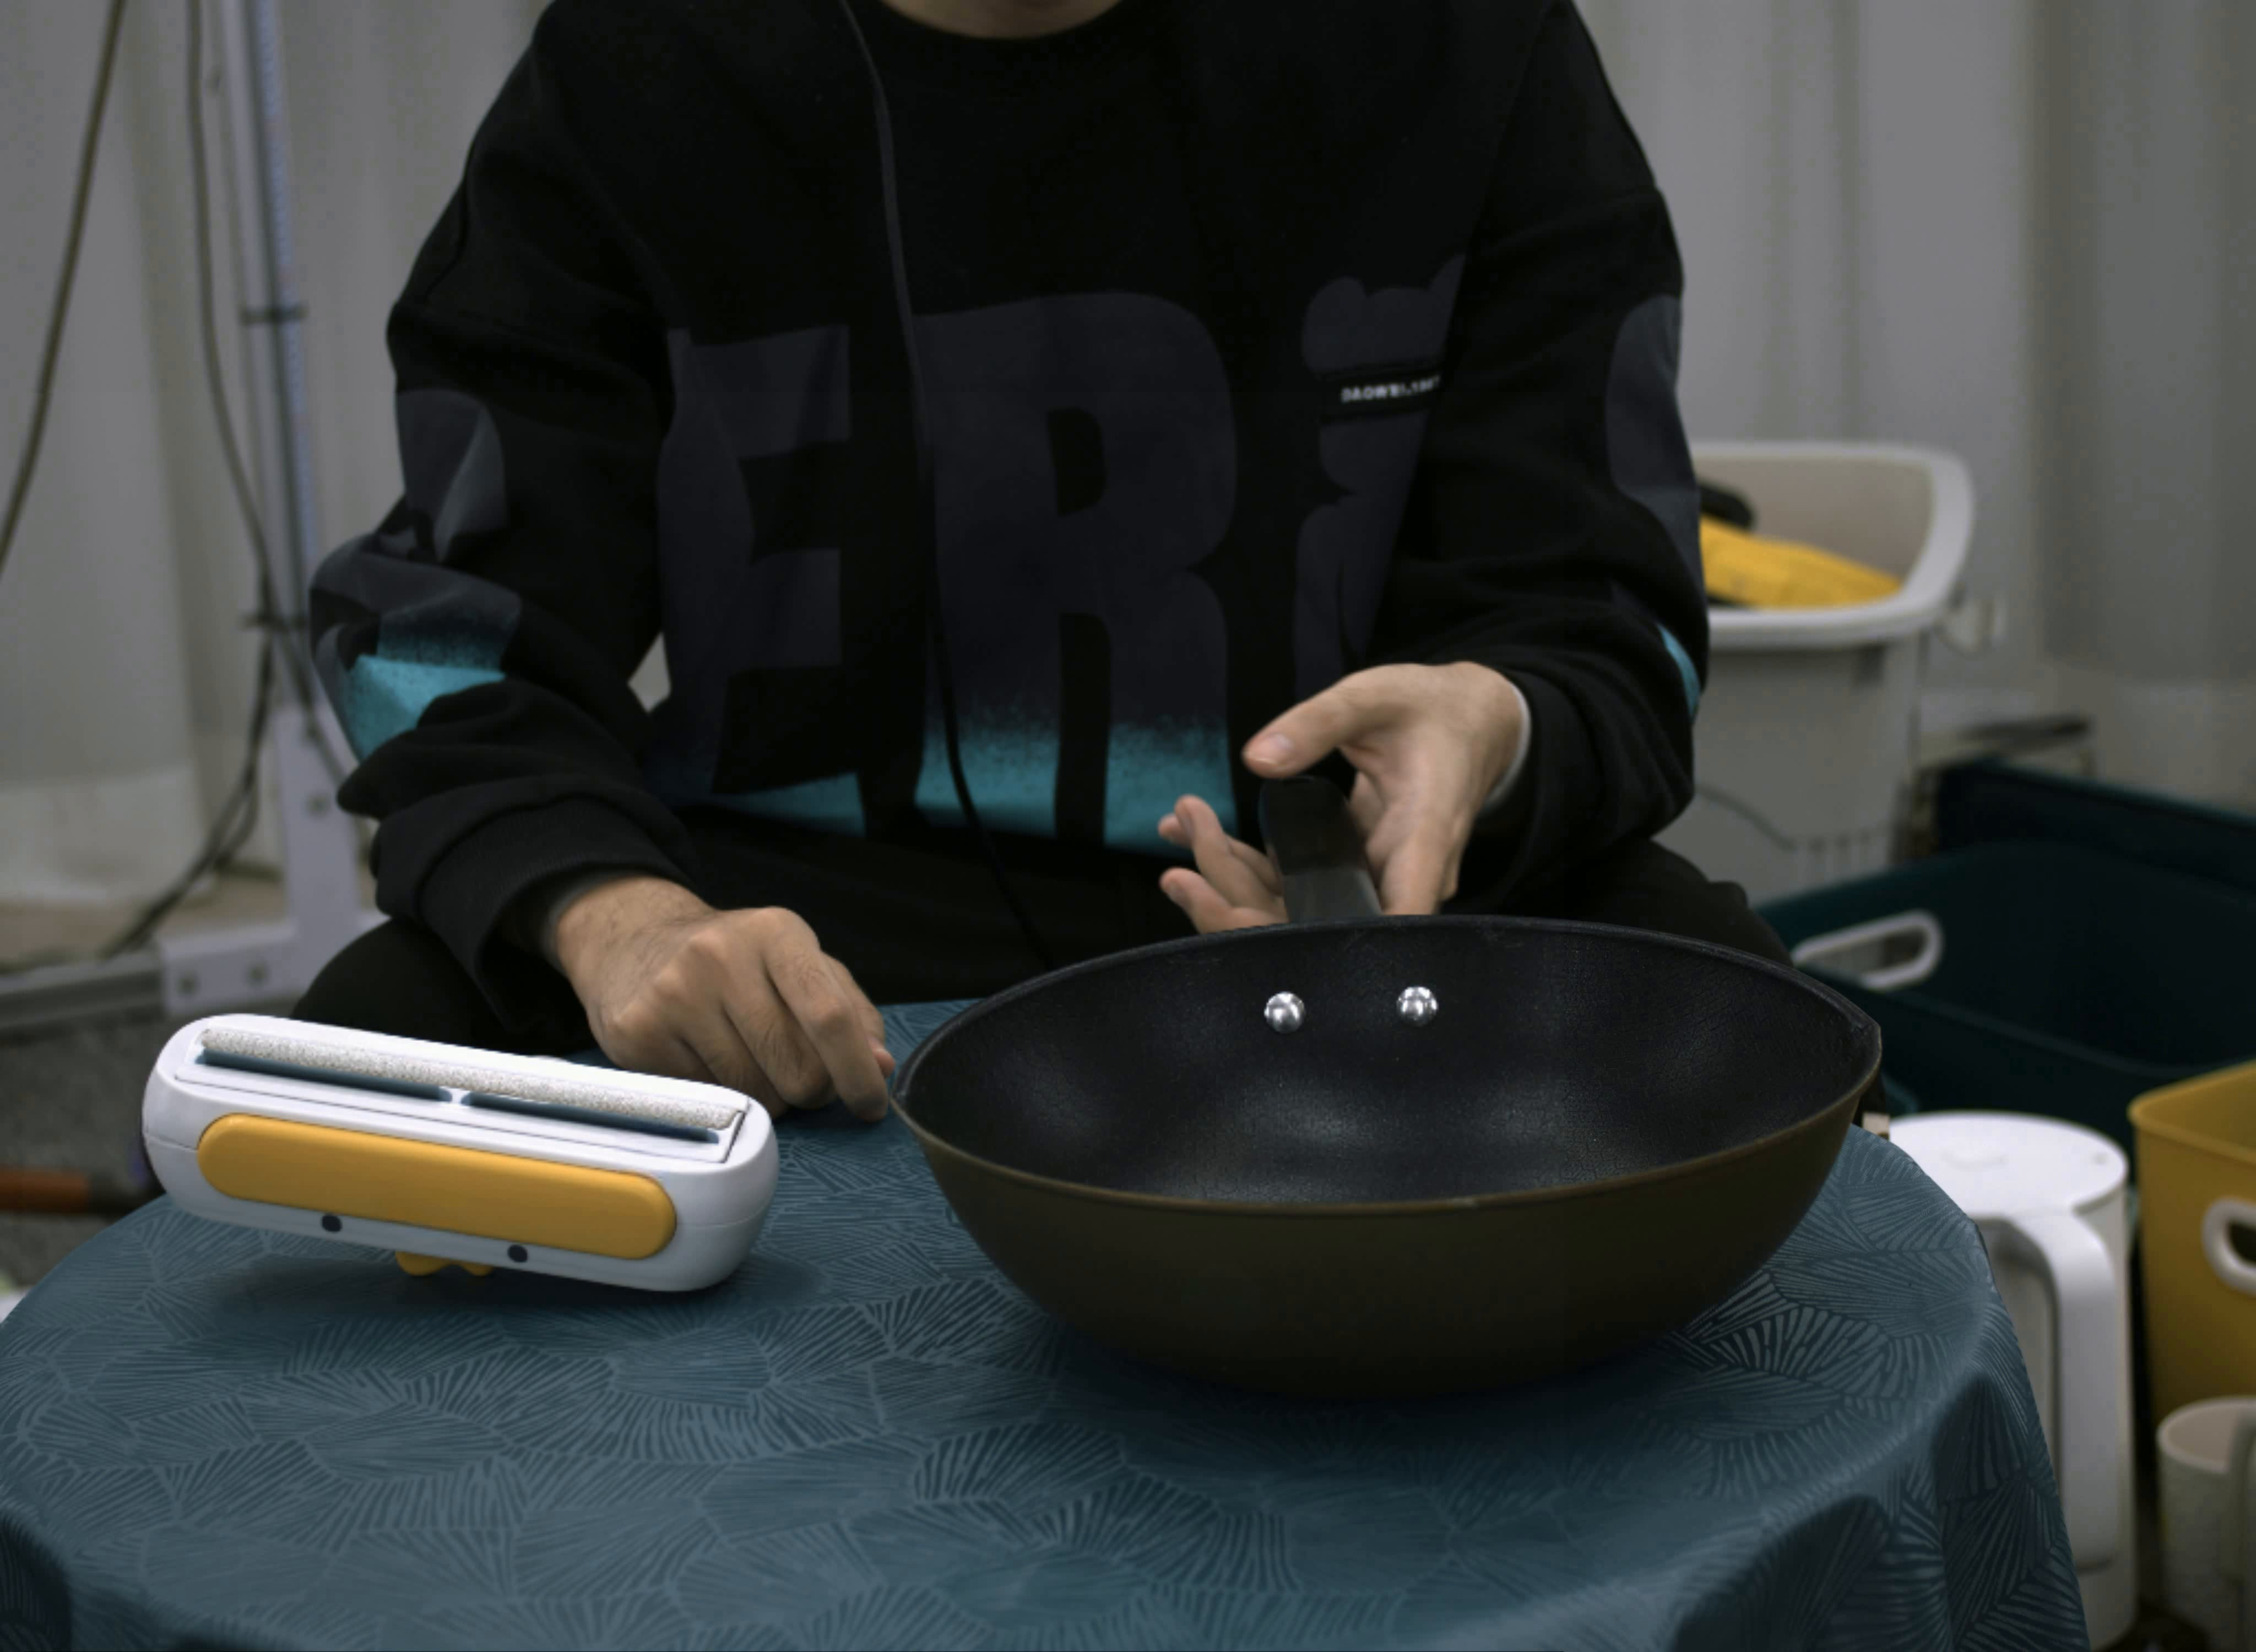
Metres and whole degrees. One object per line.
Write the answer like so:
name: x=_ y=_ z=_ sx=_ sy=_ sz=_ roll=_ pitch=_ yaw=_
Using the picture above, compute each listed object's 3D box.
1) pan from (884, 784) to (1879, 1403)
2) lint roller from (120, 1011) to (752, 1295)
pan: x=0.070 y=0.079 z=1.673 sx=0.287 sy=0.086 sz=0.466 roll=-3 pitch=15 yaw=-2
lint roller: x=-0.199 y=0.091 z=1.713 sx=0.192 sy=0.074 sz=0.193 roll=5 pitch=15 yaw=9
